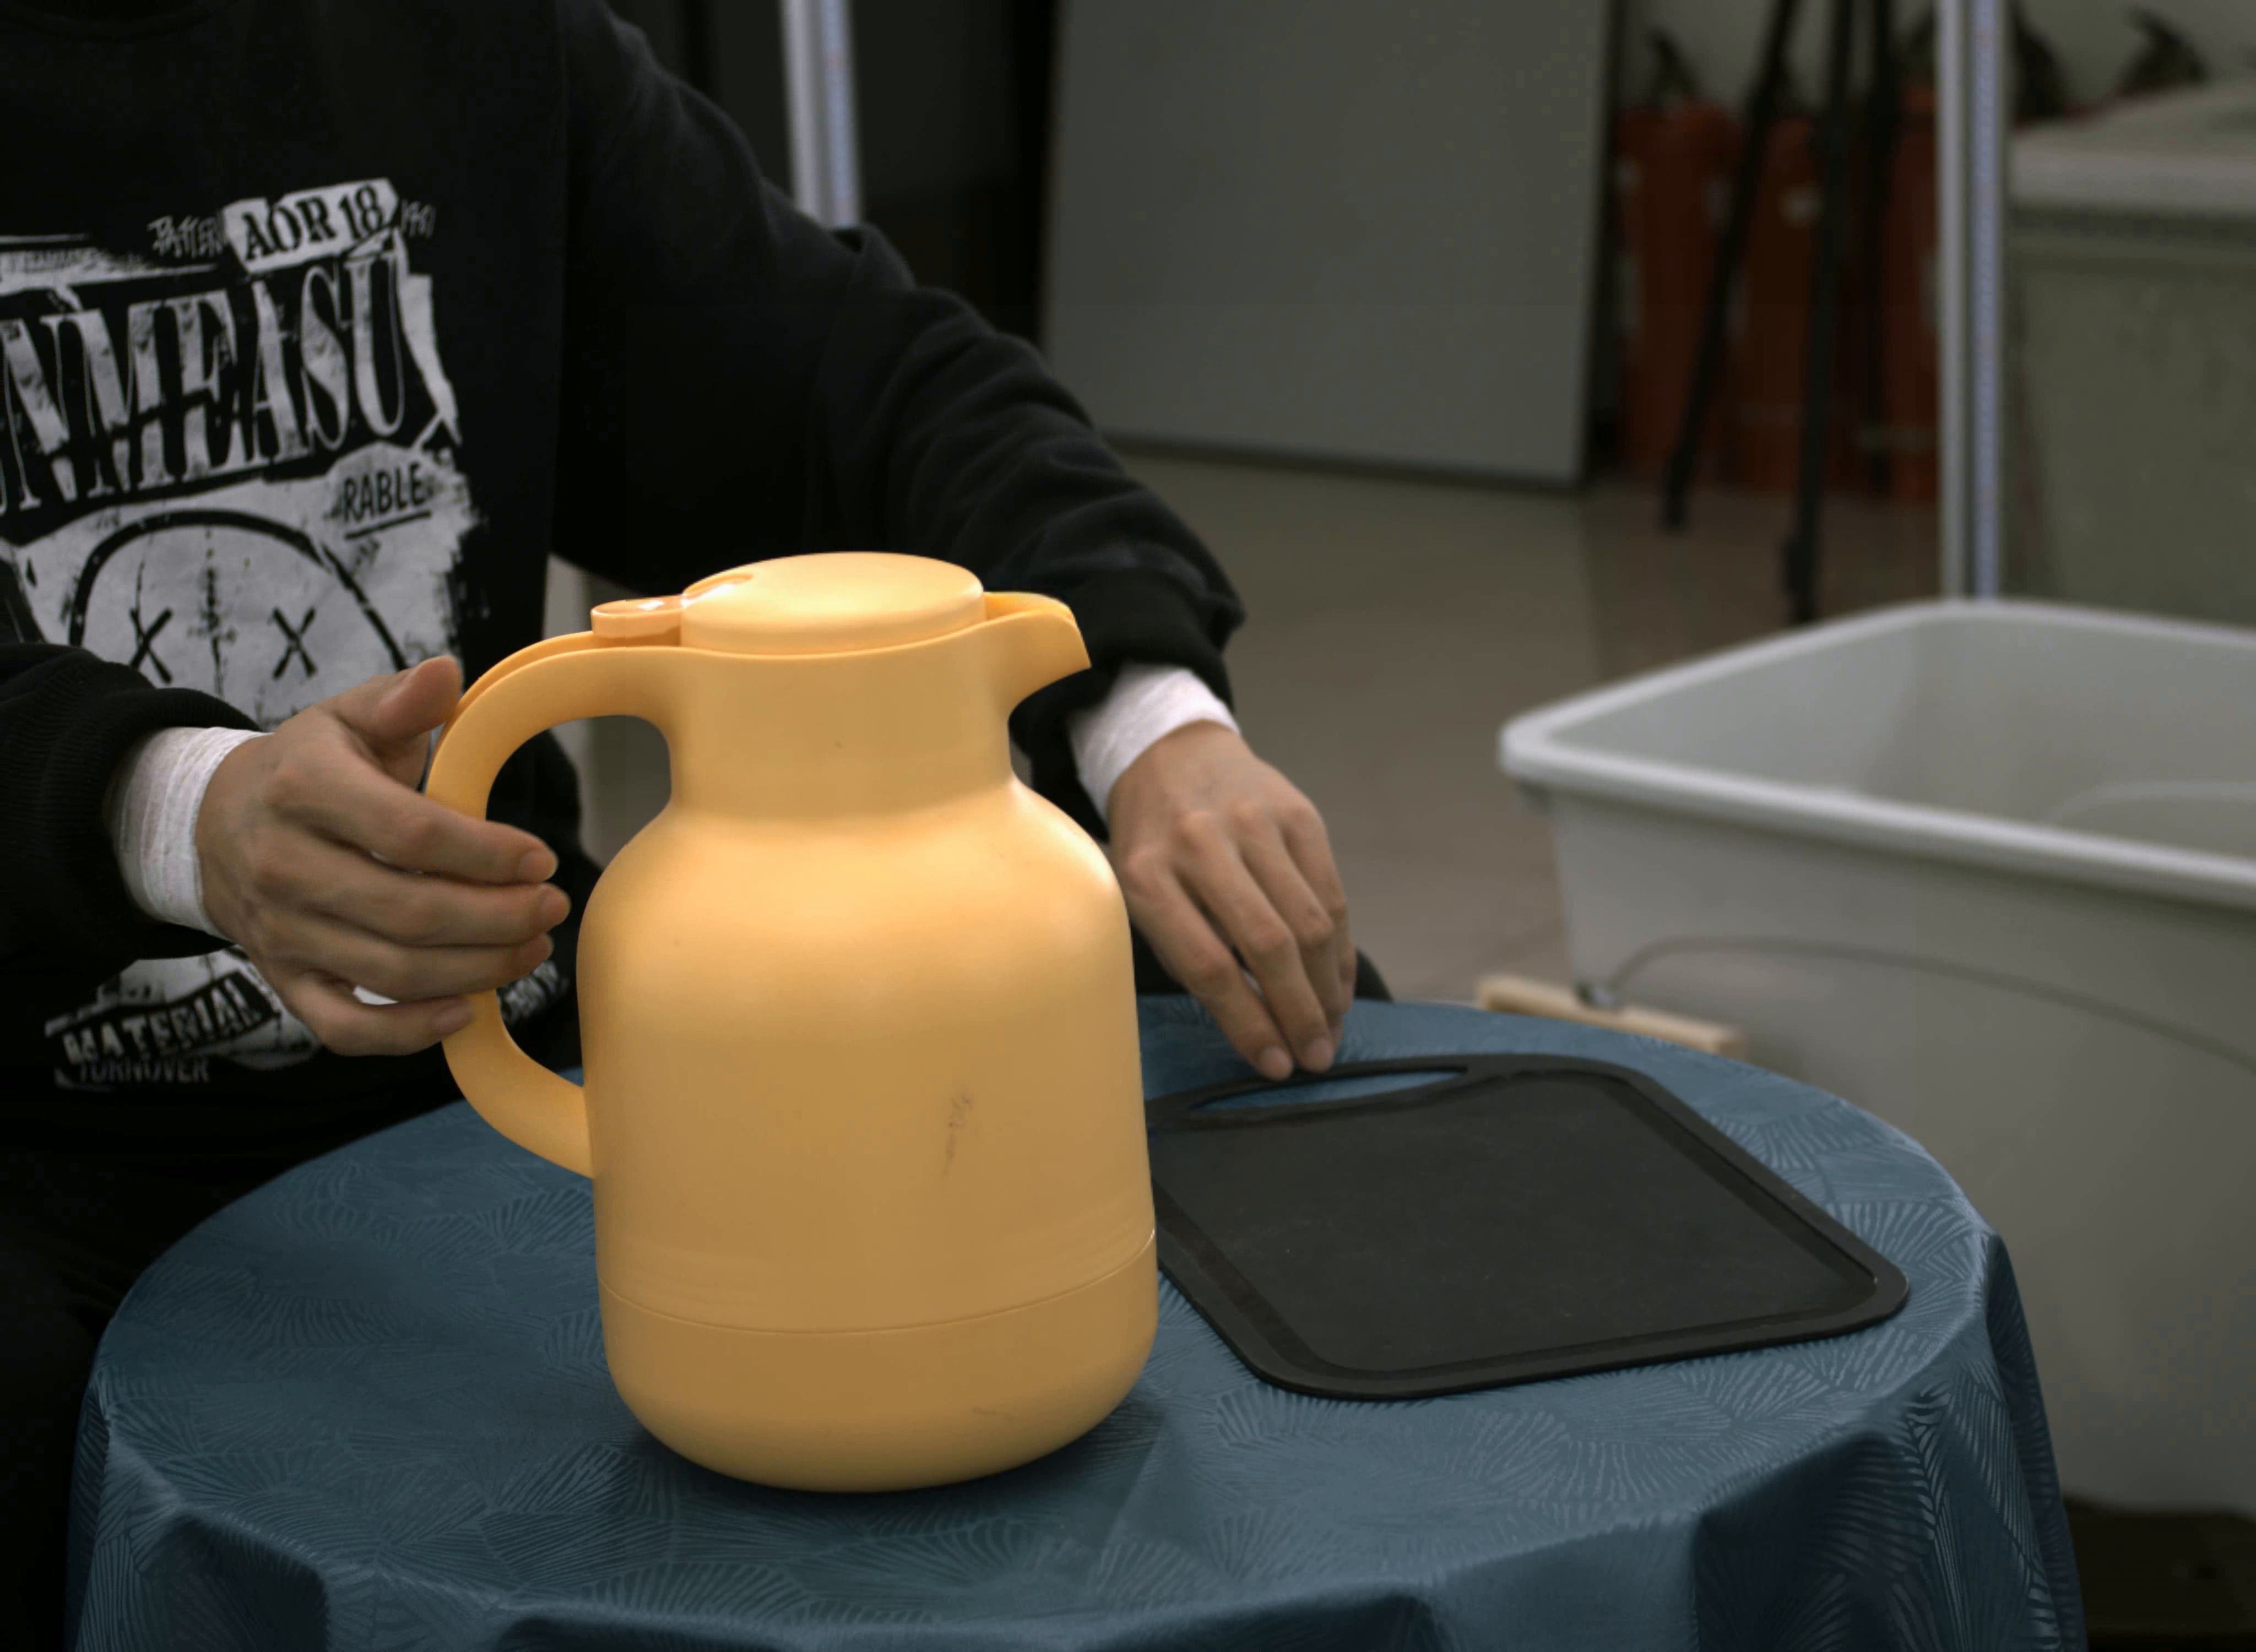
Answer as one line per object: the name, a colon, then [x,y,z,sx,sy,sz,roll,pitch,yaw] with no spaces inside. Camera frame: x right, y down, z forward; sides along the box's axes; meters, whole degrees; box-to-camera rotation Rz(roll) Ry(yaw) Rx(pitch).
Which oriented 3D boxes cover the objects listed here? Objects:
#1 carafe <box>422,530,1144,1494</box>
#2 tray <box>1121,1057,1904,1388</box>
carafe: [-0.098,0.050,1.544,0.199,0.263,0.164,-3,11,-1]
tray: [0.105,0.120,1.730,0.207,0.010,0.328,-7,14,-12]
